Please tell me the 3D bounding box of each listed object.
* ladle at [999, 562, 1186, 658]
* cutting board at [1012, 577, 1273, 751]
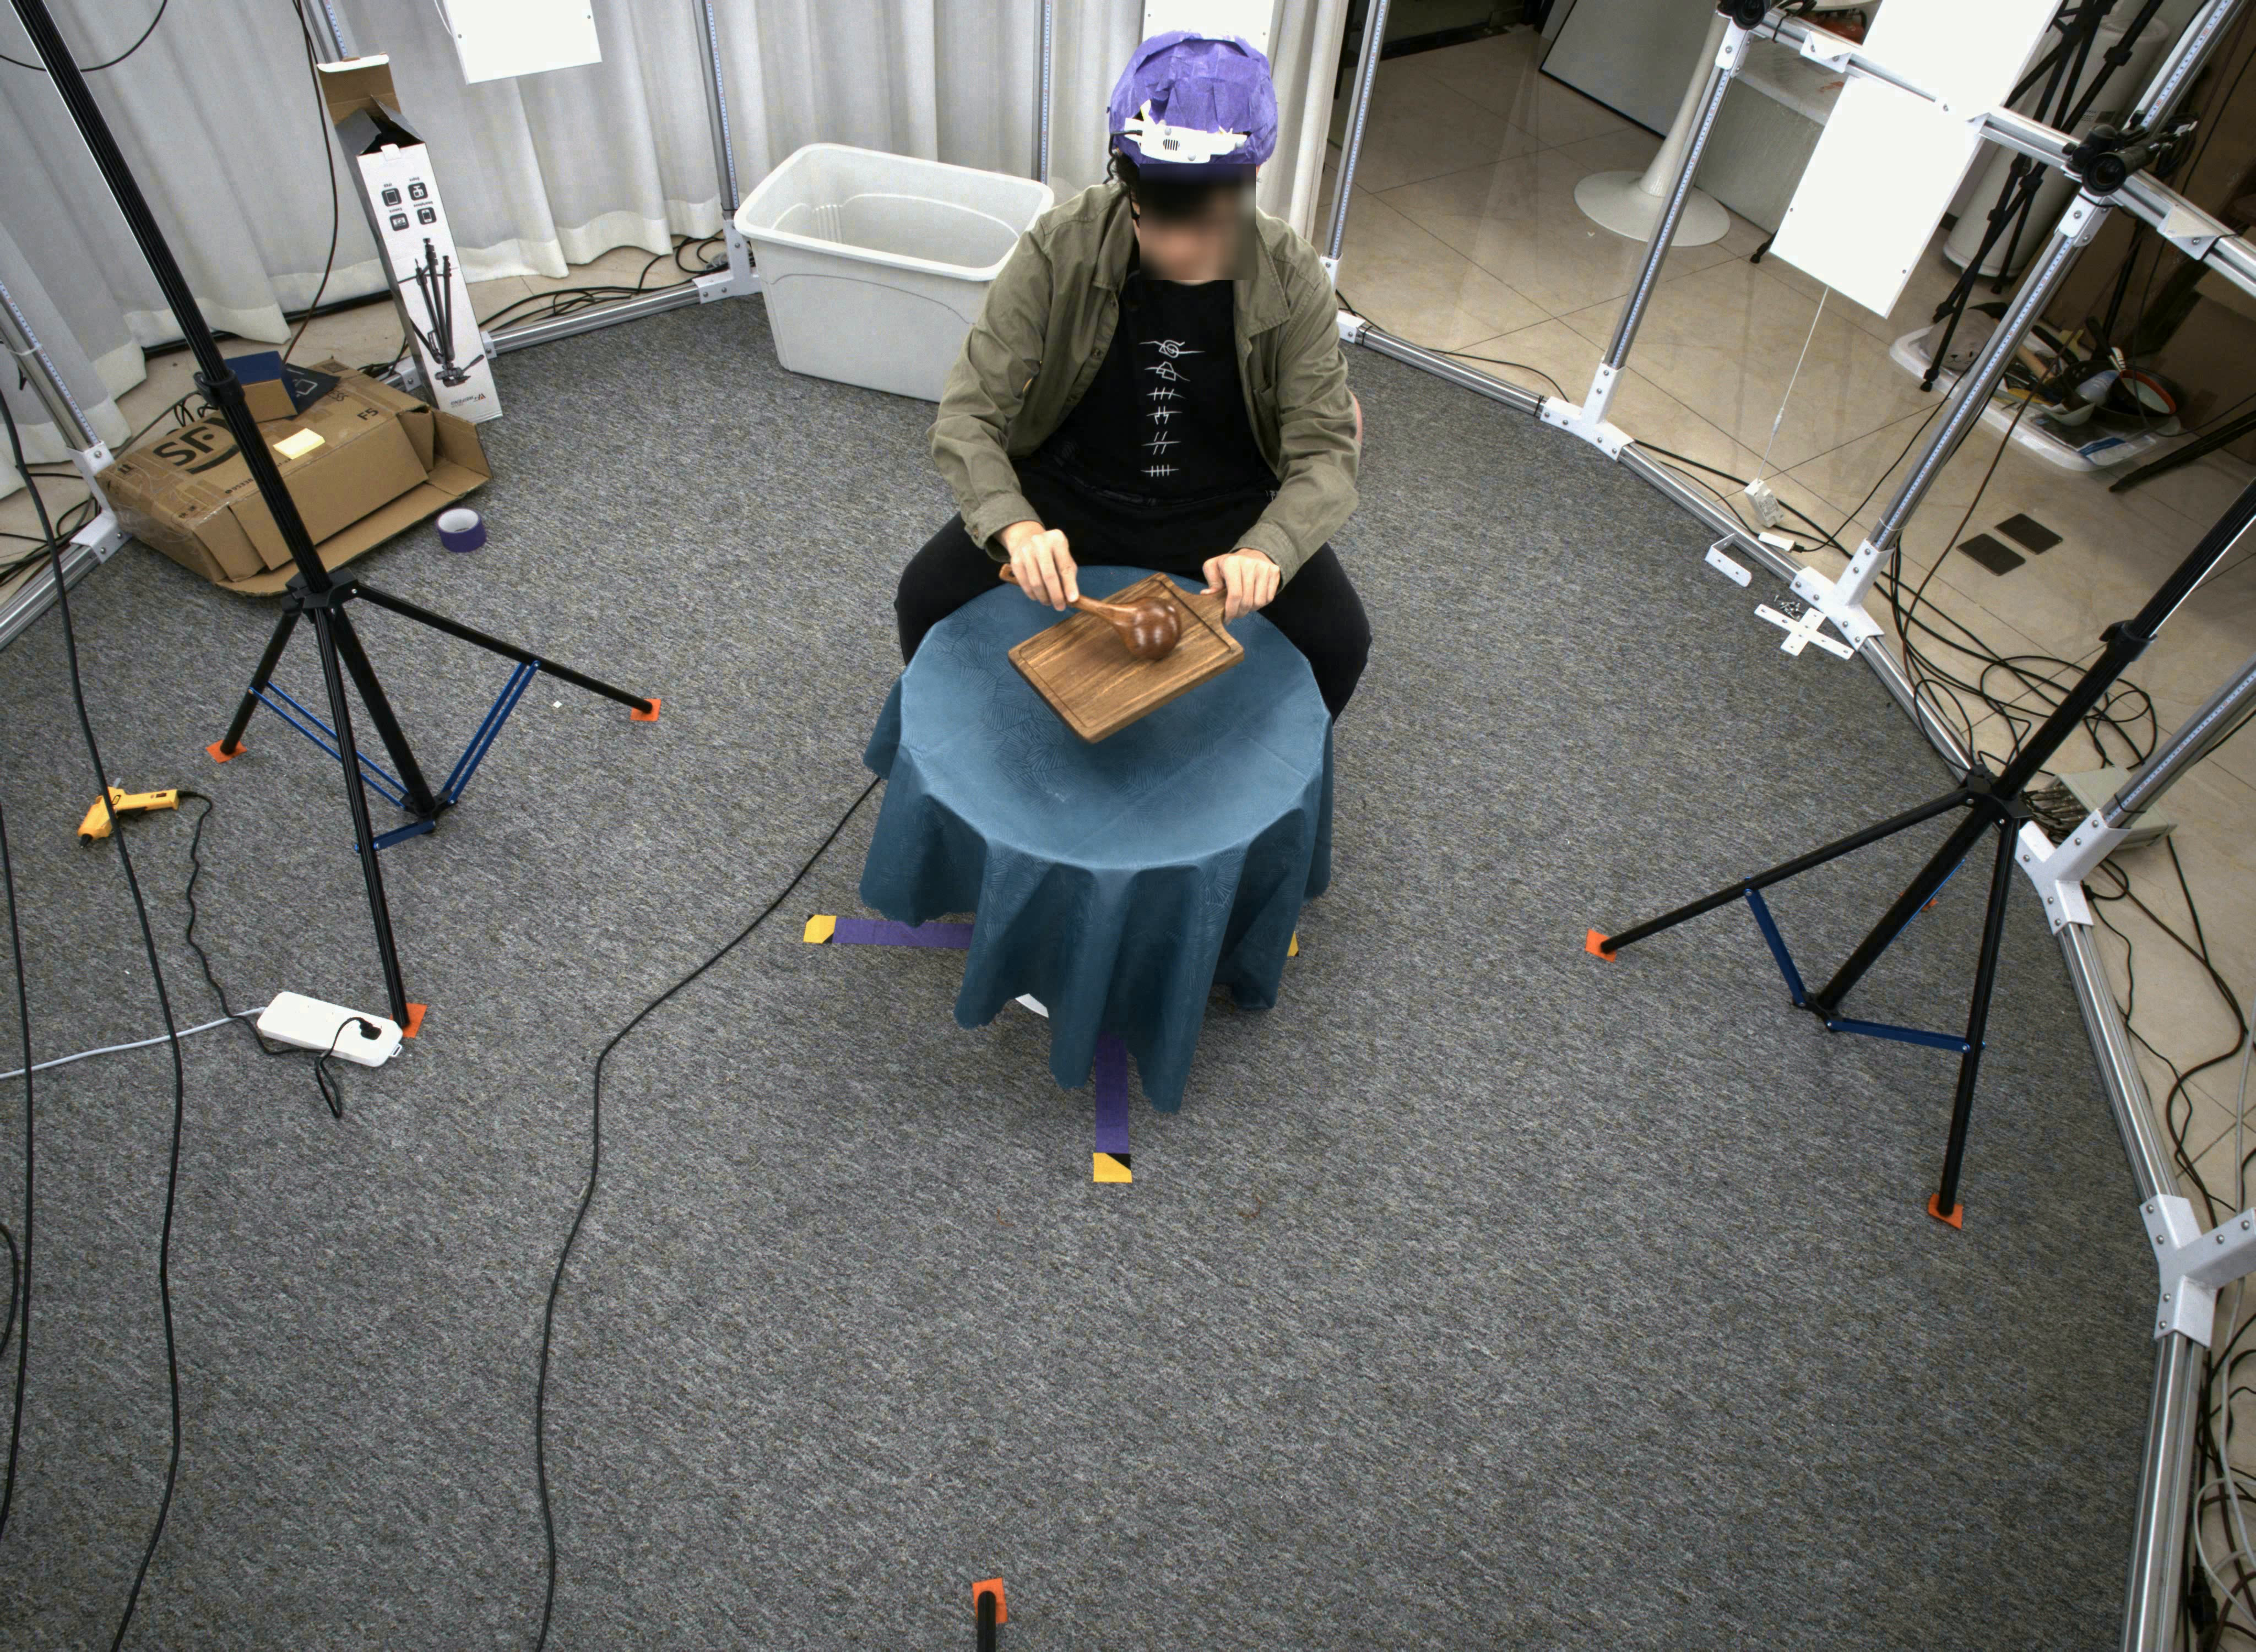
[{"bbox_3d":[-0.046,-0.296,1.692,0.277,0.076,0.082,25,93,32],"label":"ladle"},{"bbox_3d":[0.045,-0.238,1.674,0.353,0.022,0.205,-29,54,-17],"label":"cutting board"}]
